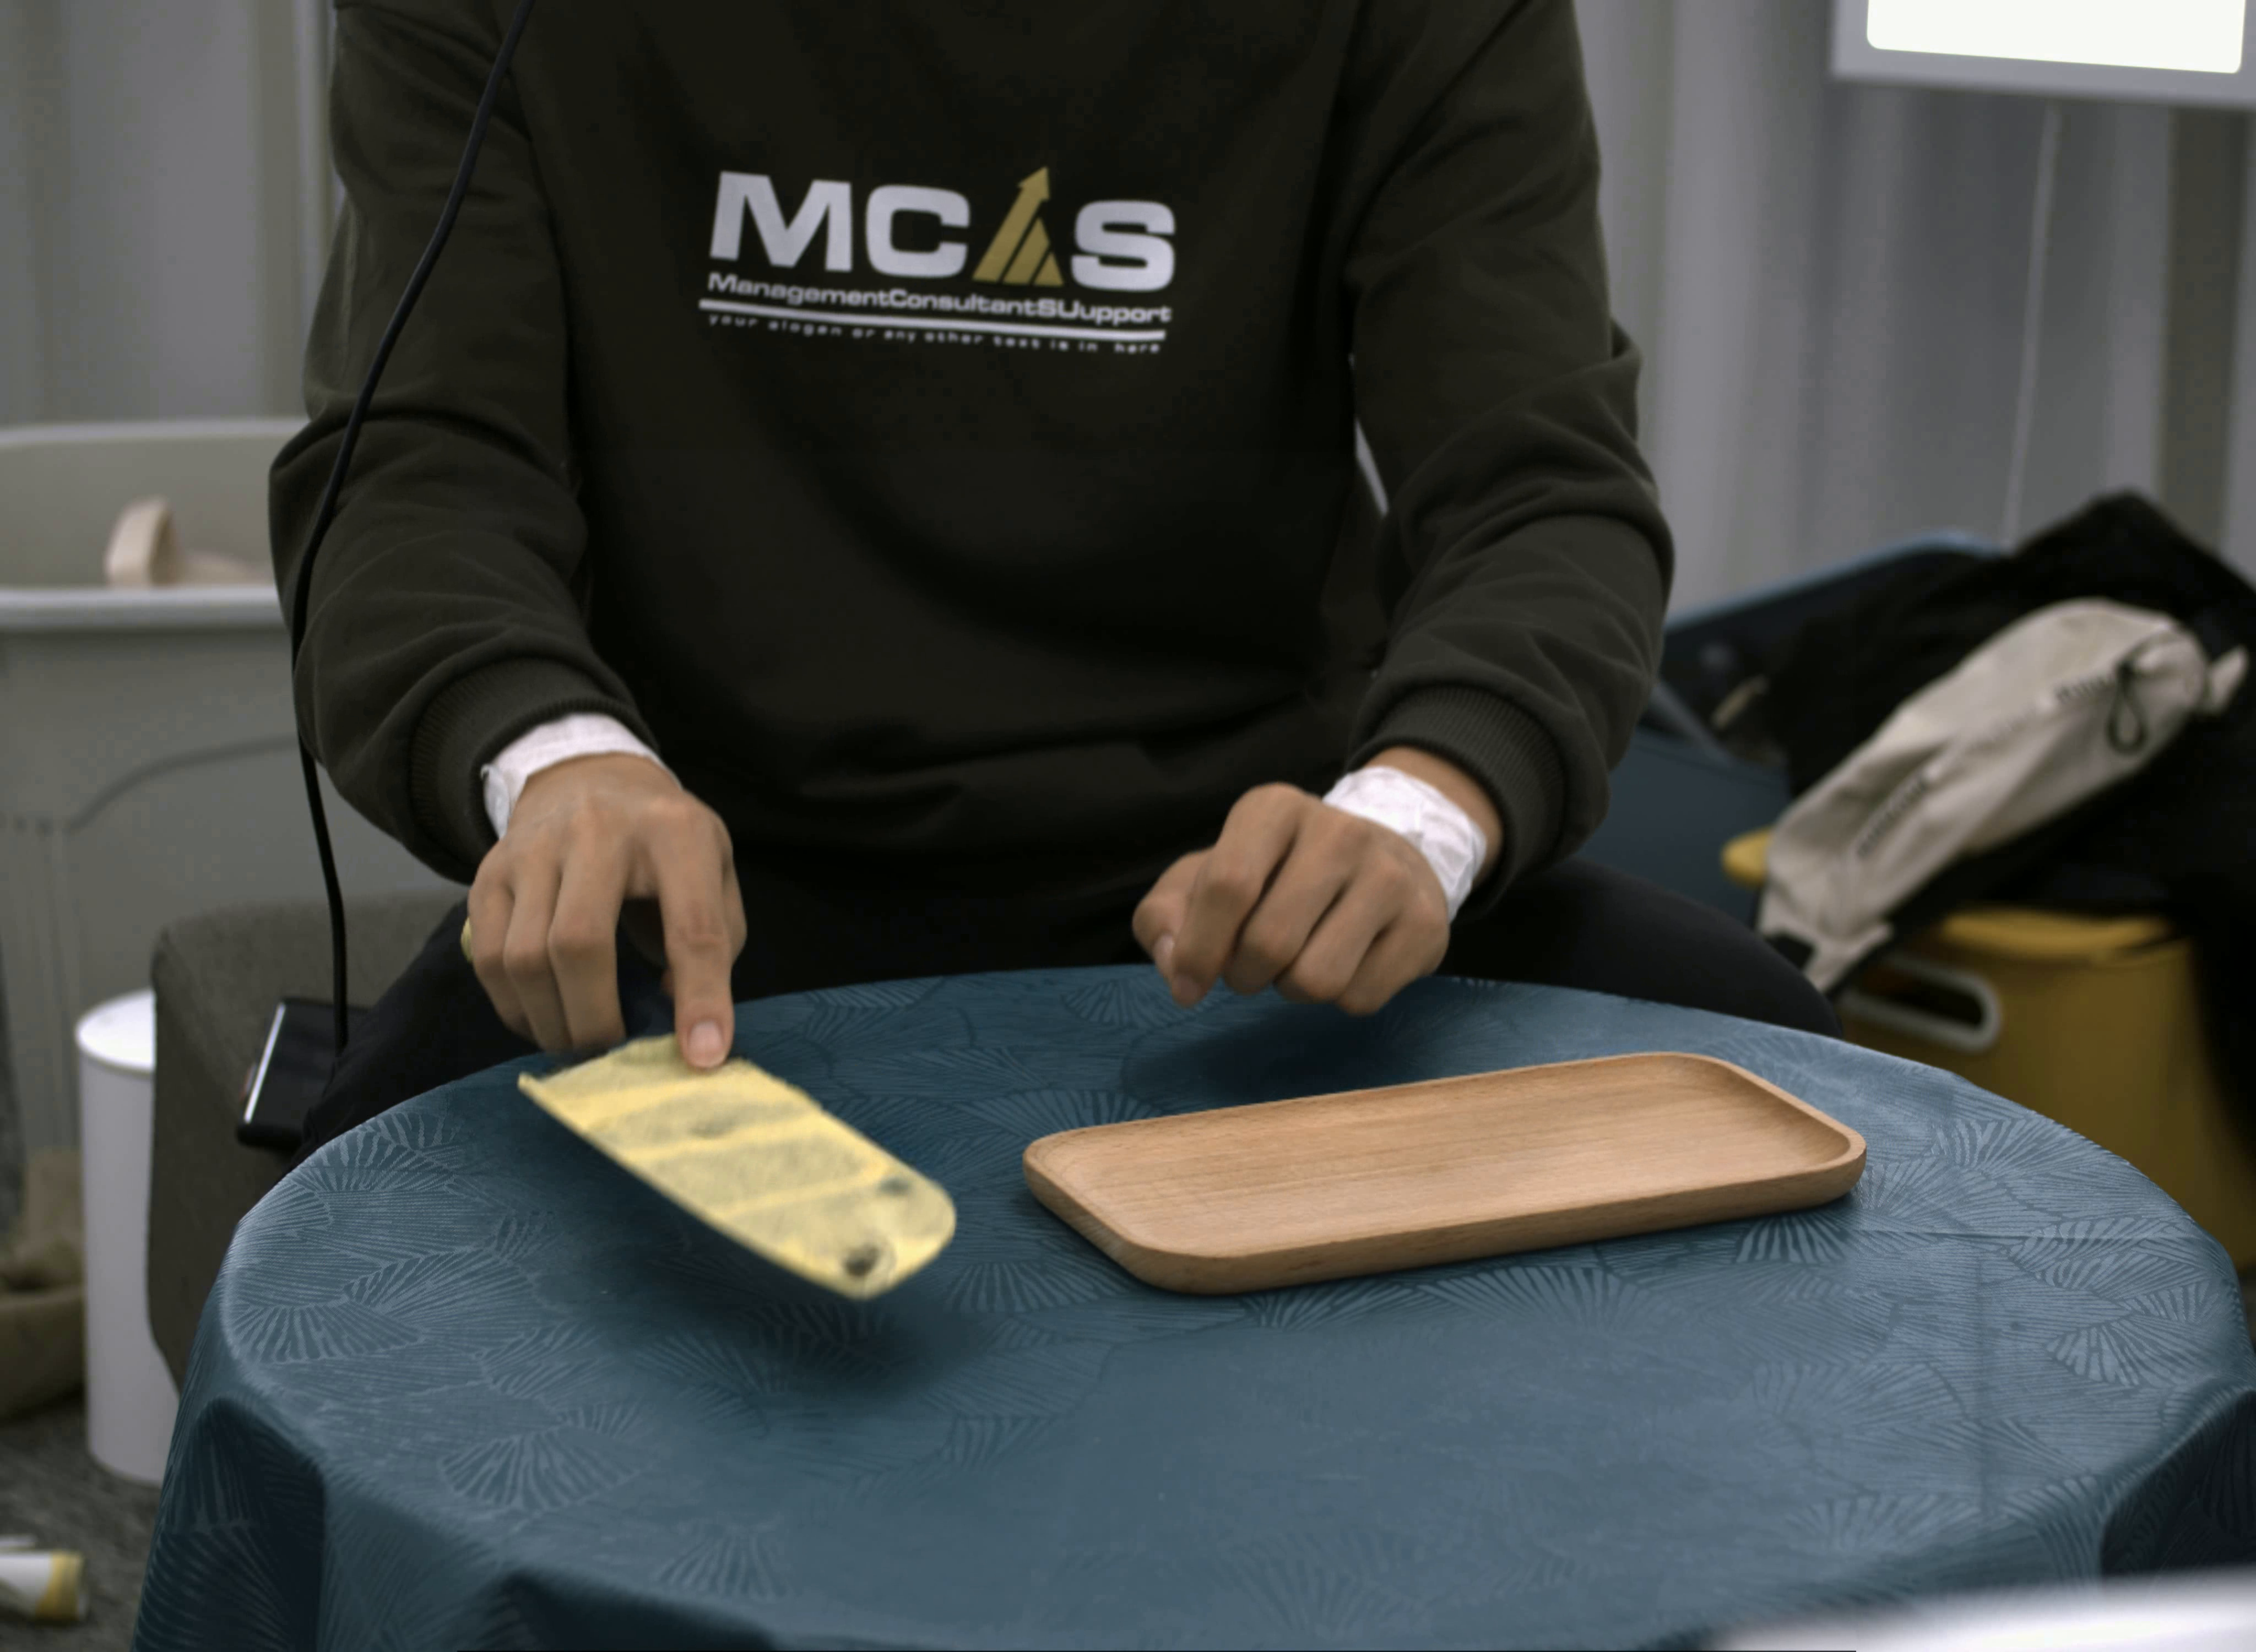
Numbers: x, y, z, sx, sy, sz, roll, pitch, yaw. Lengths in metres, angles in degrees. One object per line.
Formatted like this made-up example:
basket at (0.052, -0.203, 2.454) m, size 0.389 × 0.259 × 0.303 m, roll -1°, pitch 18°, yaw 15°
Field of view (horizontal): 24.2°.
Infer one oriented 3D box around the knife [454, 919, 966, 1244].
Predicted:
knife at (-0.137, 0.076, 1.562) m, size 0.081 × 0.027 × 0.285 m, roll -4°, pitch 18°, yaw -34°

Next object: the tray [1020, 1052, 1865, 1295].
tray at (0.097, 0.106, 1.621) m, size 0.251 × 0.023 × 0.129 m, roll -7°, pitch 14°, yaw -23°
